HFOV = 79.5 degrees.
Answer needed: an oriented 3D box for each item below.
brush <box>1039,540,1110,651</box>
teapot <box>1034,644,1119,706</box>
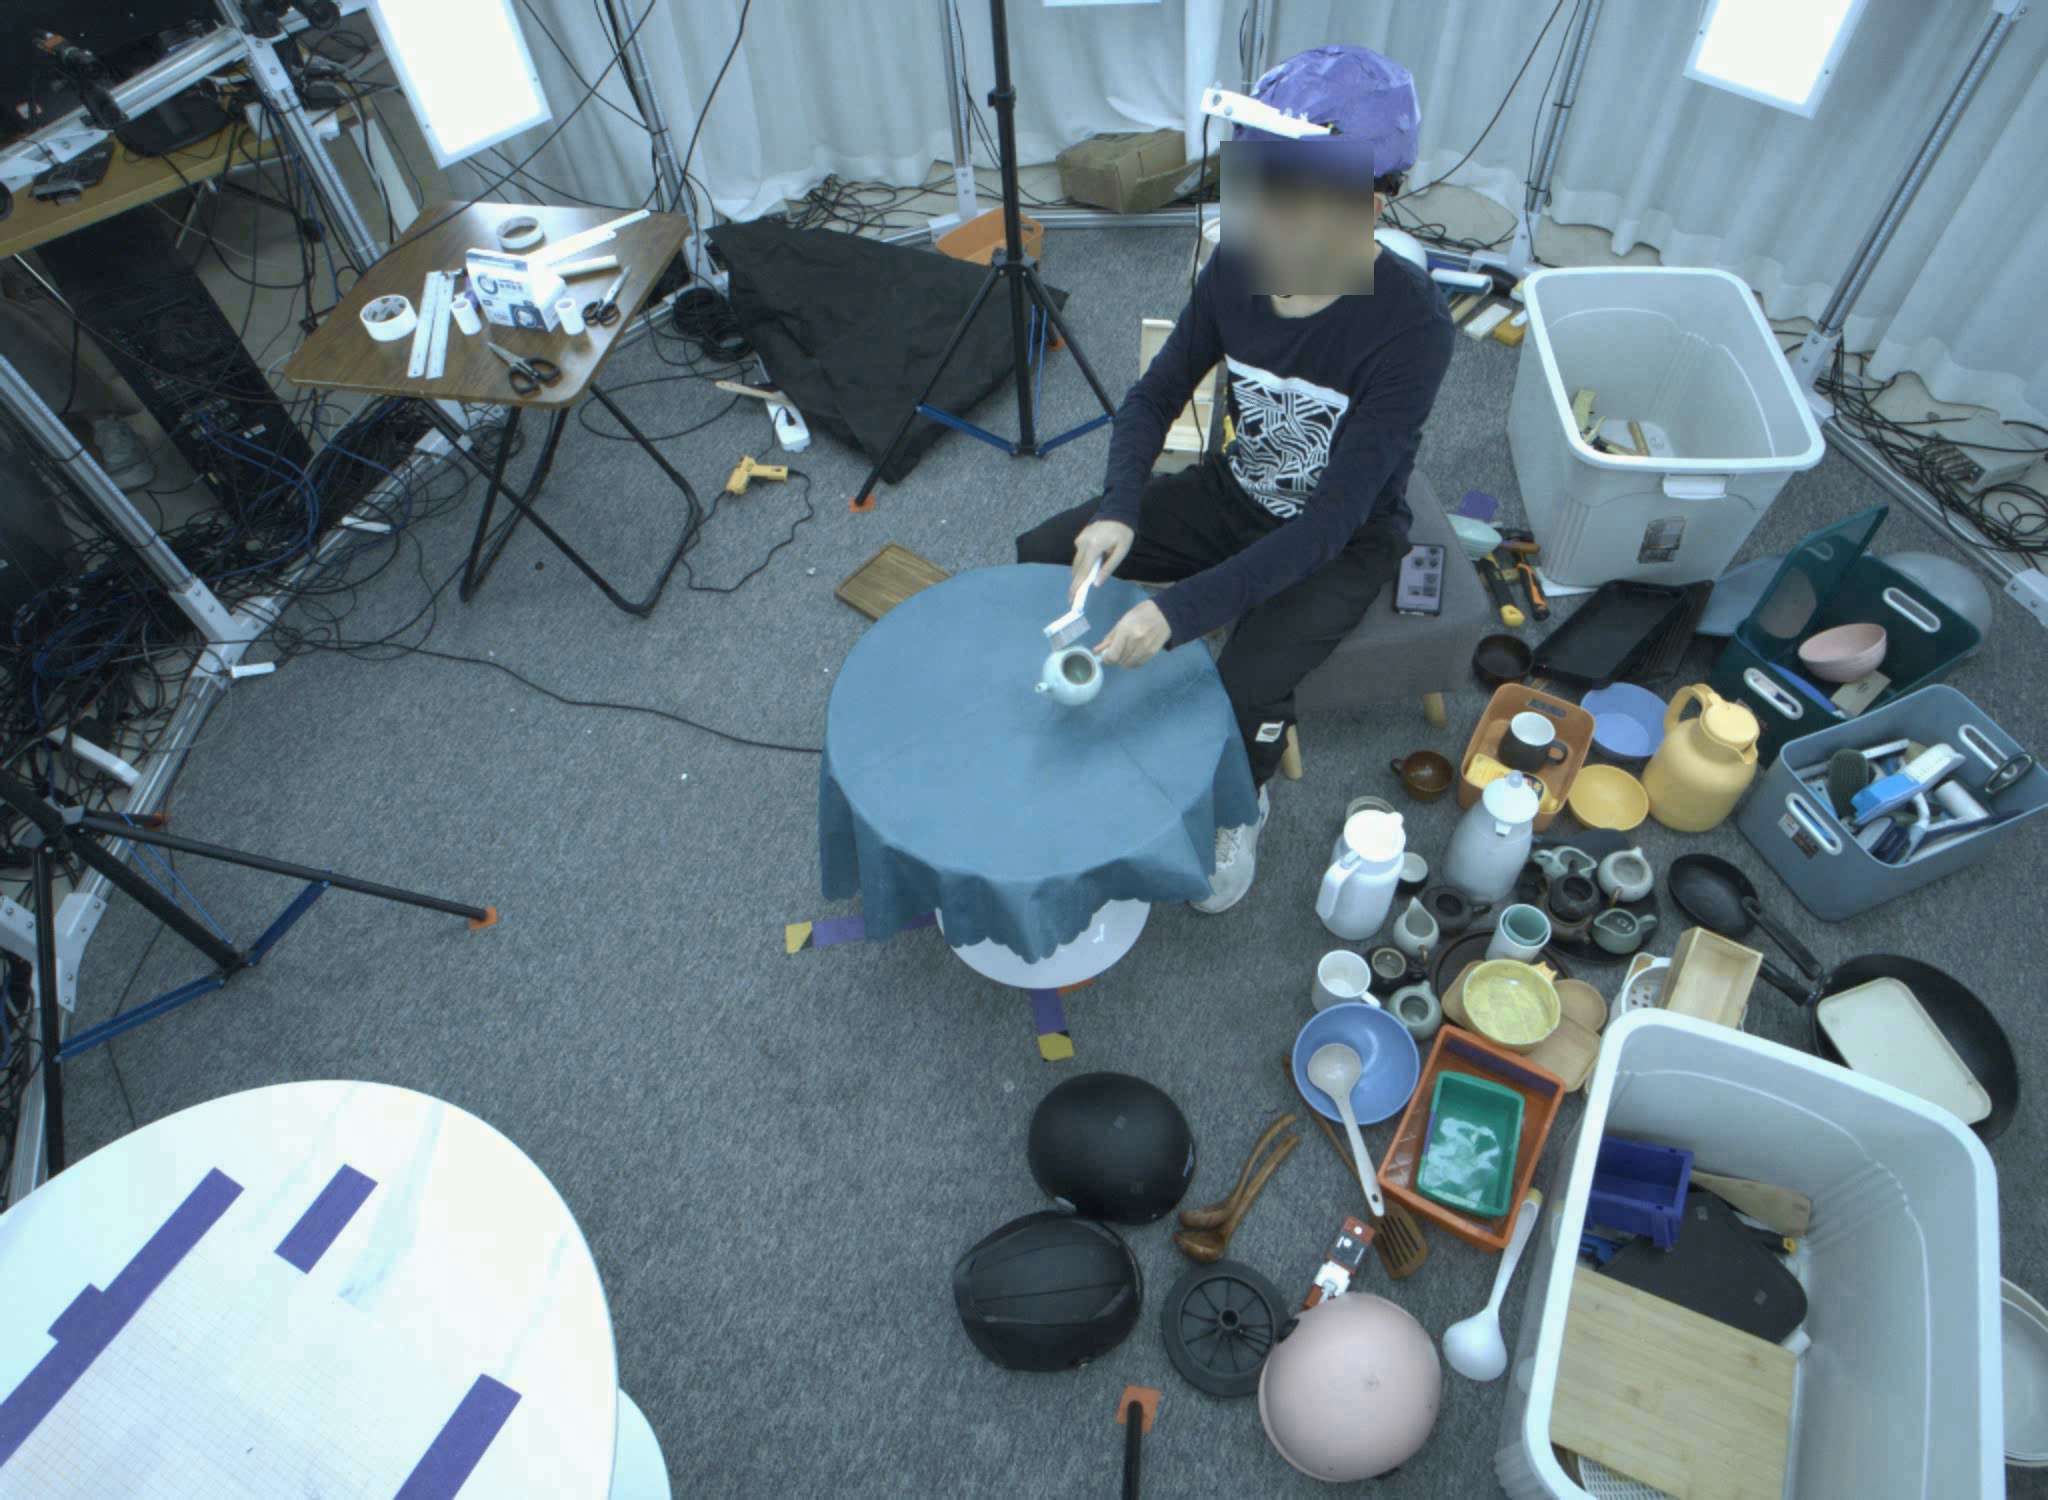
[{"bbox_3d":[0.089,-0.227,1.801,0.050,0.034,0.244,41,49,-10],"label":"brush"},{"bbox_3d":[0.070,-0.107,1.754,0.145,0.074,0.088,-27,81,-18],"label":"teapot"}]
